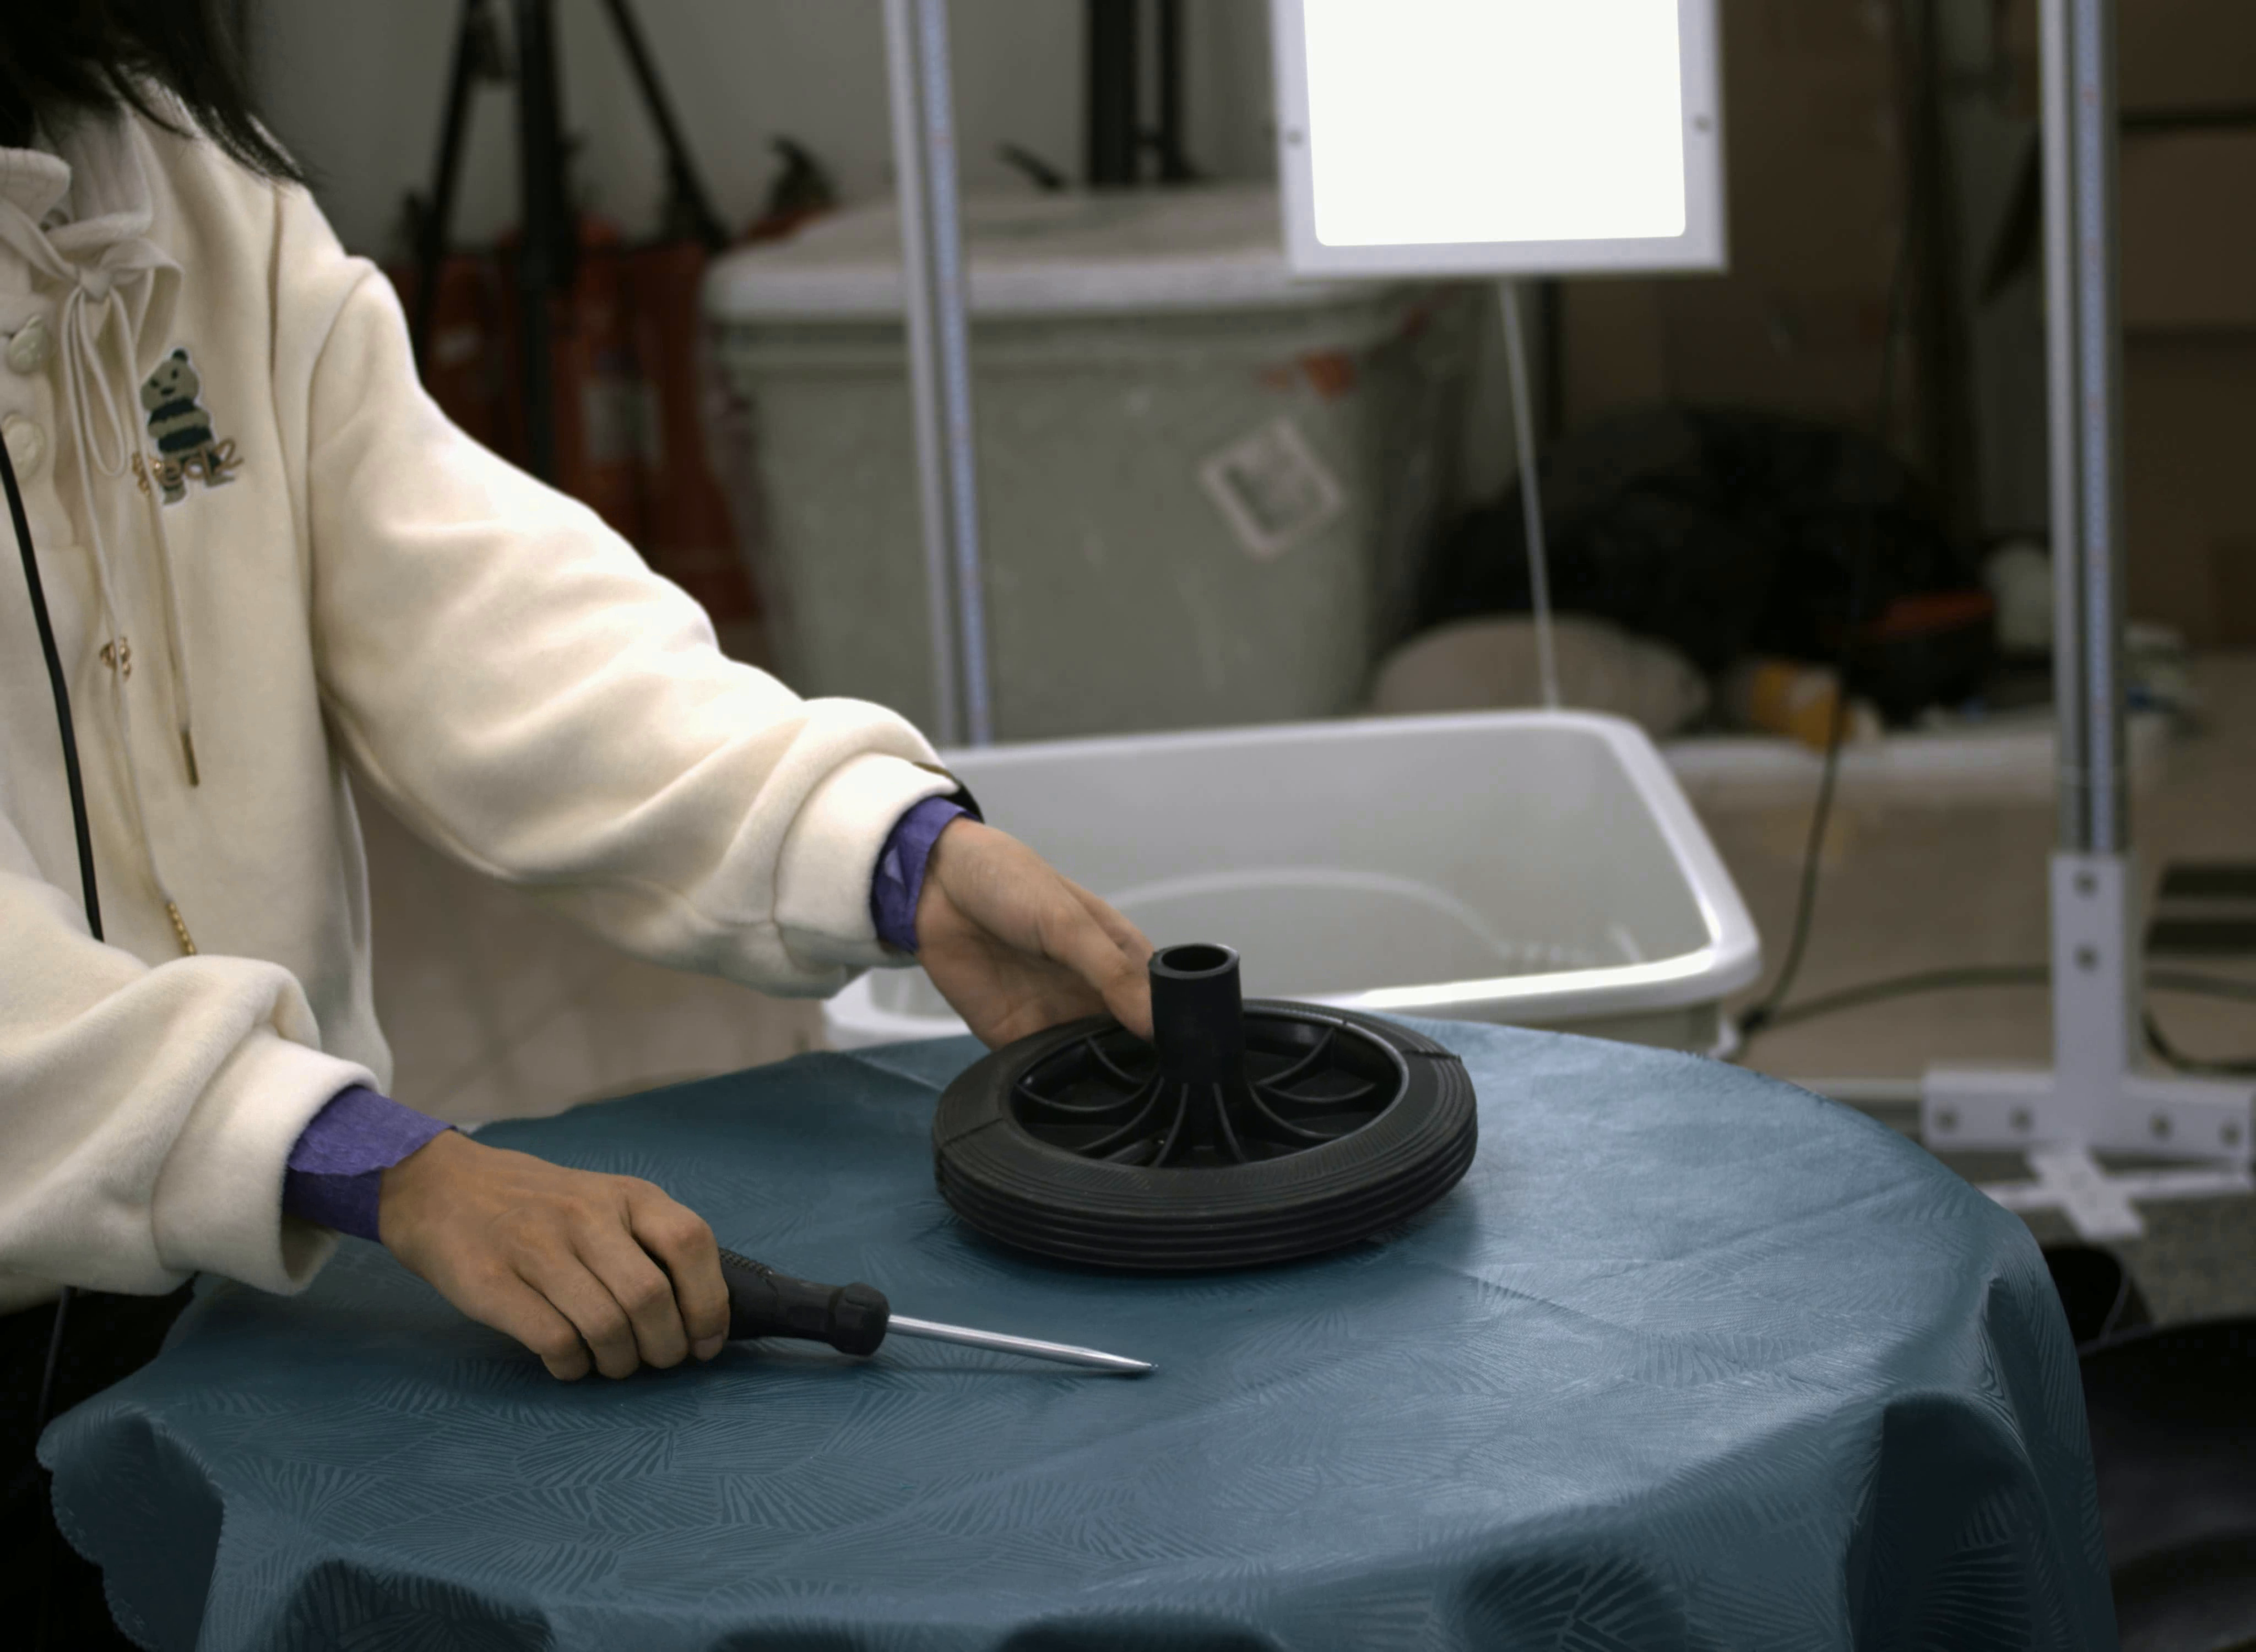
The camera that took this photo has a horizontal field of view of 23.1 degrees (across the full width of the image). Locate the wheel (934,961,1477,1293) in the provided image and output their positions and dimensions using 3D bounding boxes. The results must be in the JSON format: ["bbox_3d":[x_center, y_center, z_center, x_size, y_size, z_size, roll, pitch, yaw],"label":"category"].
[{"bbox_3d":[0.025,0.088,1.874,0.190,0.079,0.186,4,25,21],"label":"wheel"}]

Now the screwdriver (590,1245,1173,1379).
[{"bbox_3d":[-0.080,0.157,1.742,0.201,0.031,0.031,7,17,24],"label":"screwdriver"}]
